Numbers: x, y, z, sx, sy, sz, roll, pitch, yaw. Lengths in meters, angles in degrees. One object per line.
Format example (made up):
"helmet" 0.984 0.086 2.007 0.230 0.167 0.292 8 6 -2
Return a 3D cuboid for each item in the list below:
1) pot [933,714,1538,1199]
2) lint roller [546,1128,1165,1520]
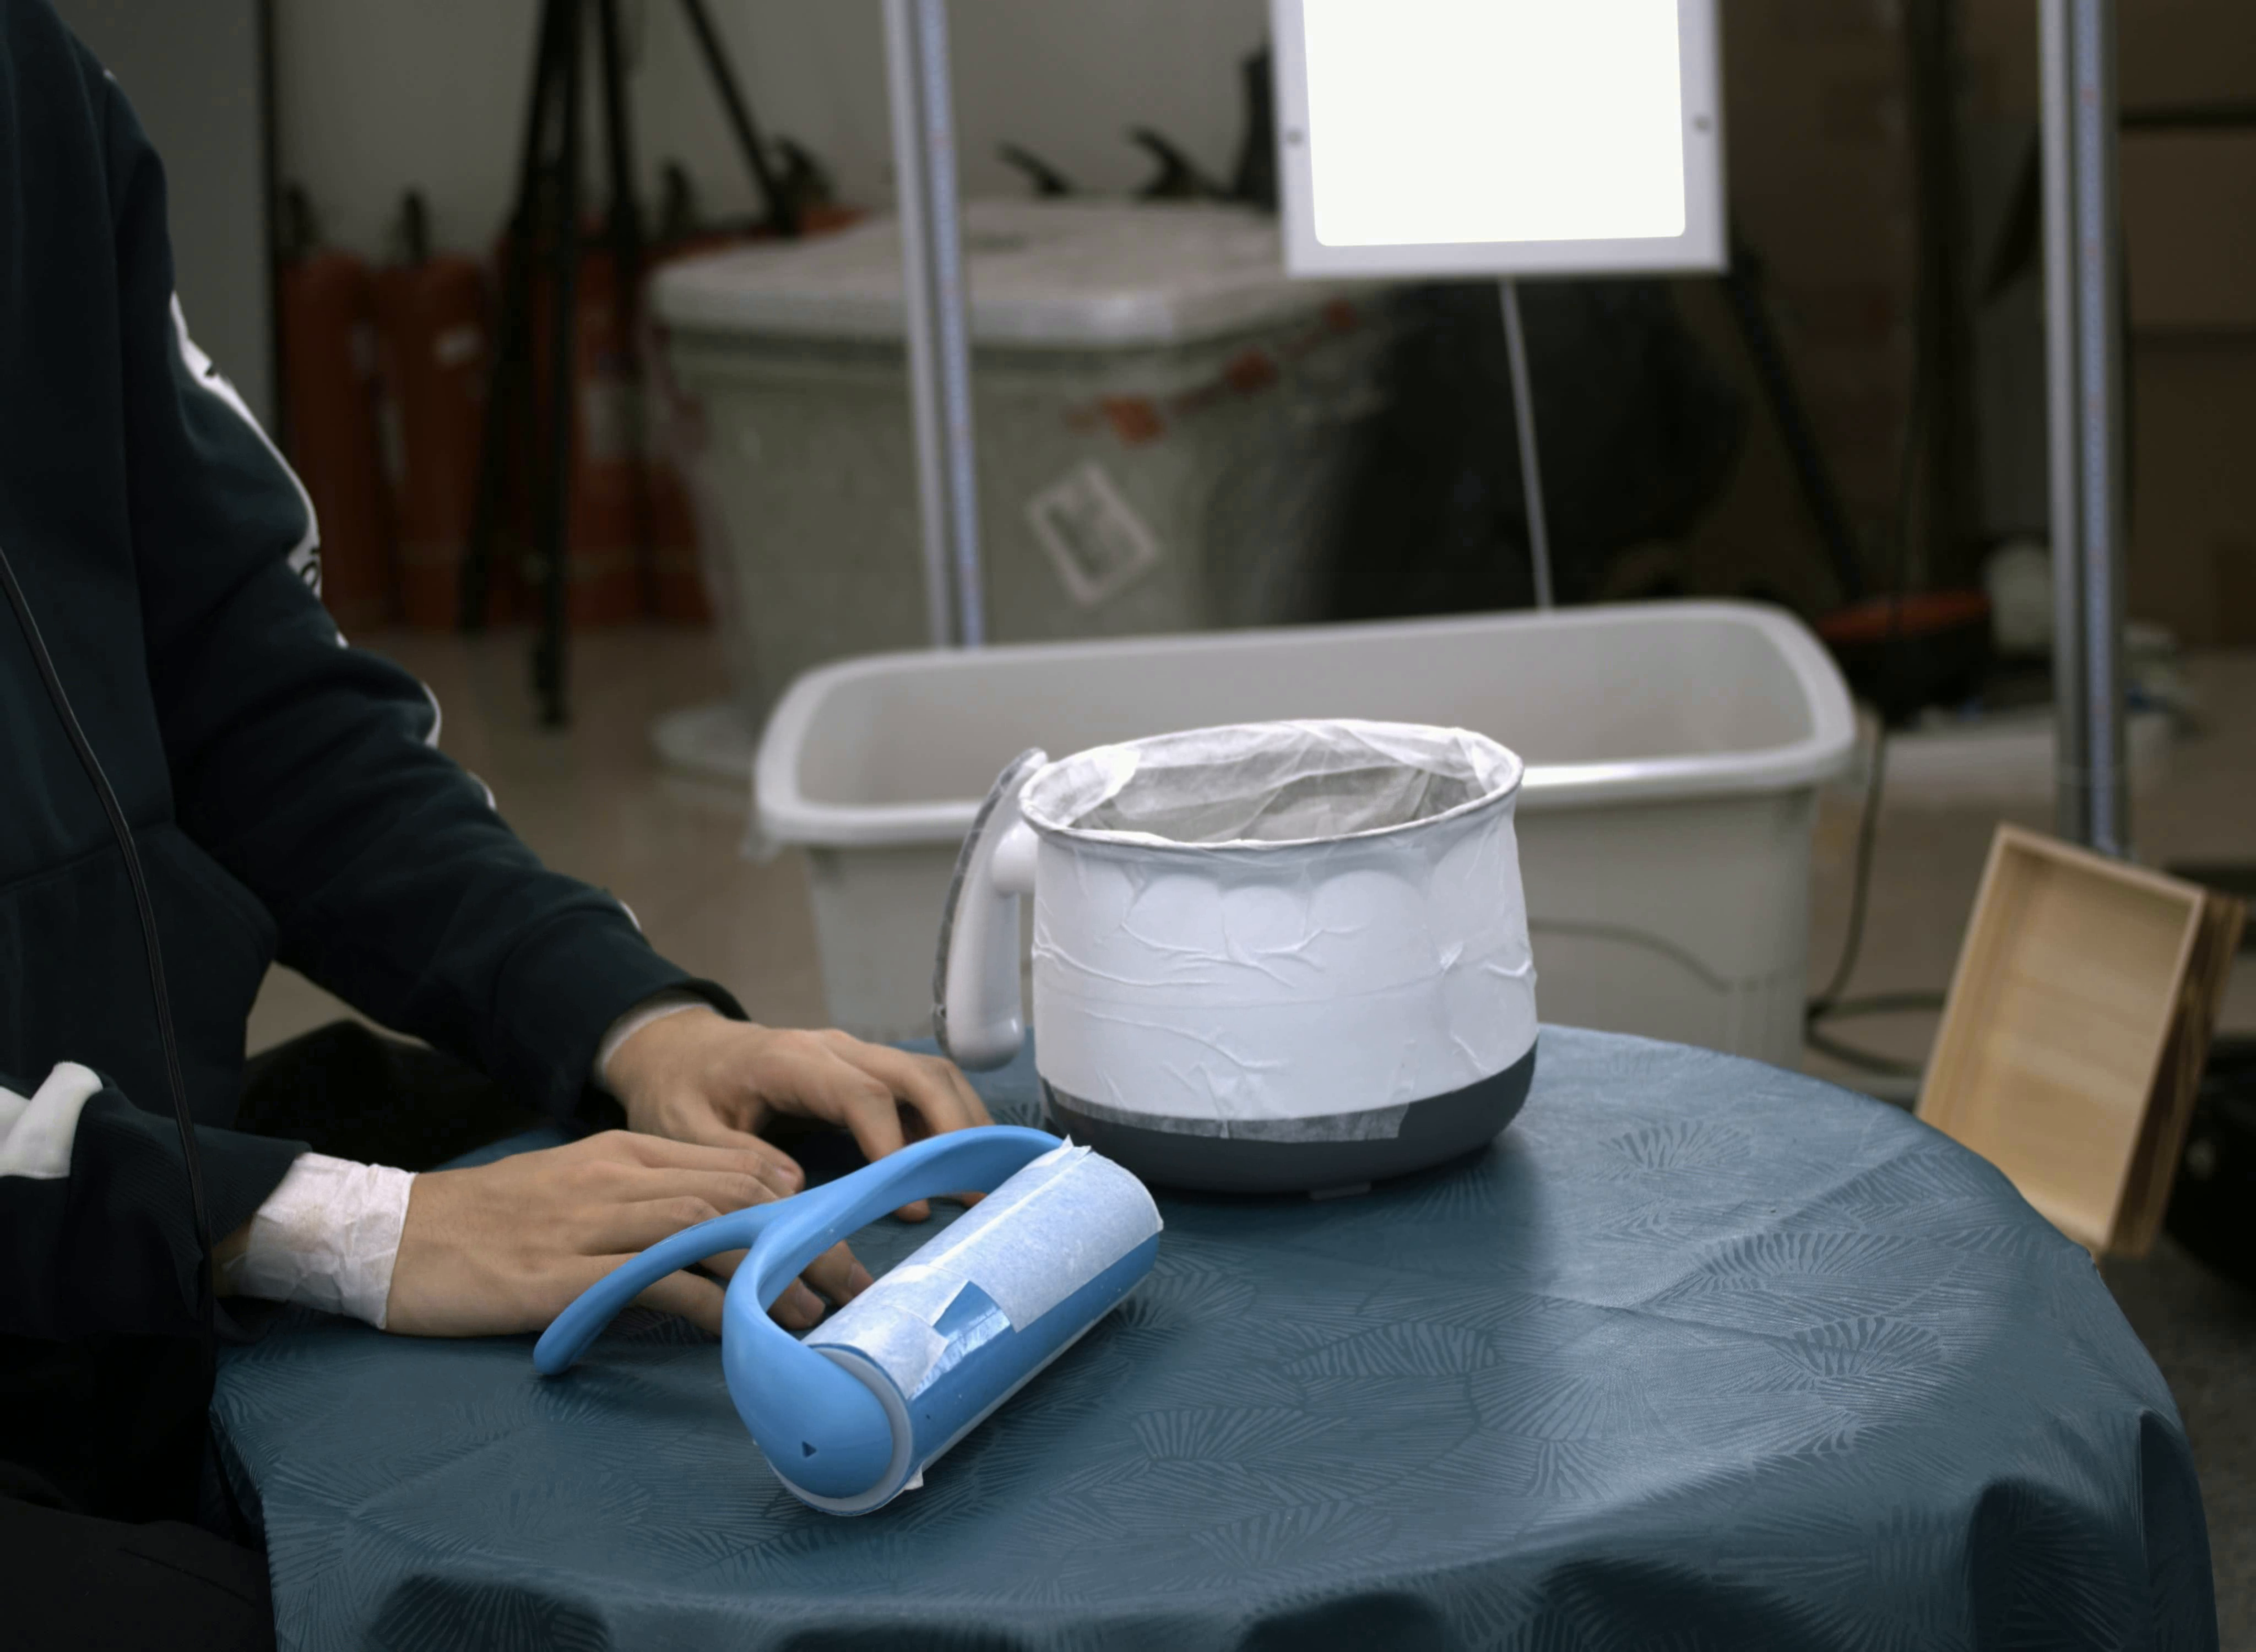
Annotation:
"pot" 0.031 0.041 1.933 0.238 0.137 0.174 6 17 33
"lint roller" -0.102 0.151 1.715 0.182 0.068 0.225 1 17 20
